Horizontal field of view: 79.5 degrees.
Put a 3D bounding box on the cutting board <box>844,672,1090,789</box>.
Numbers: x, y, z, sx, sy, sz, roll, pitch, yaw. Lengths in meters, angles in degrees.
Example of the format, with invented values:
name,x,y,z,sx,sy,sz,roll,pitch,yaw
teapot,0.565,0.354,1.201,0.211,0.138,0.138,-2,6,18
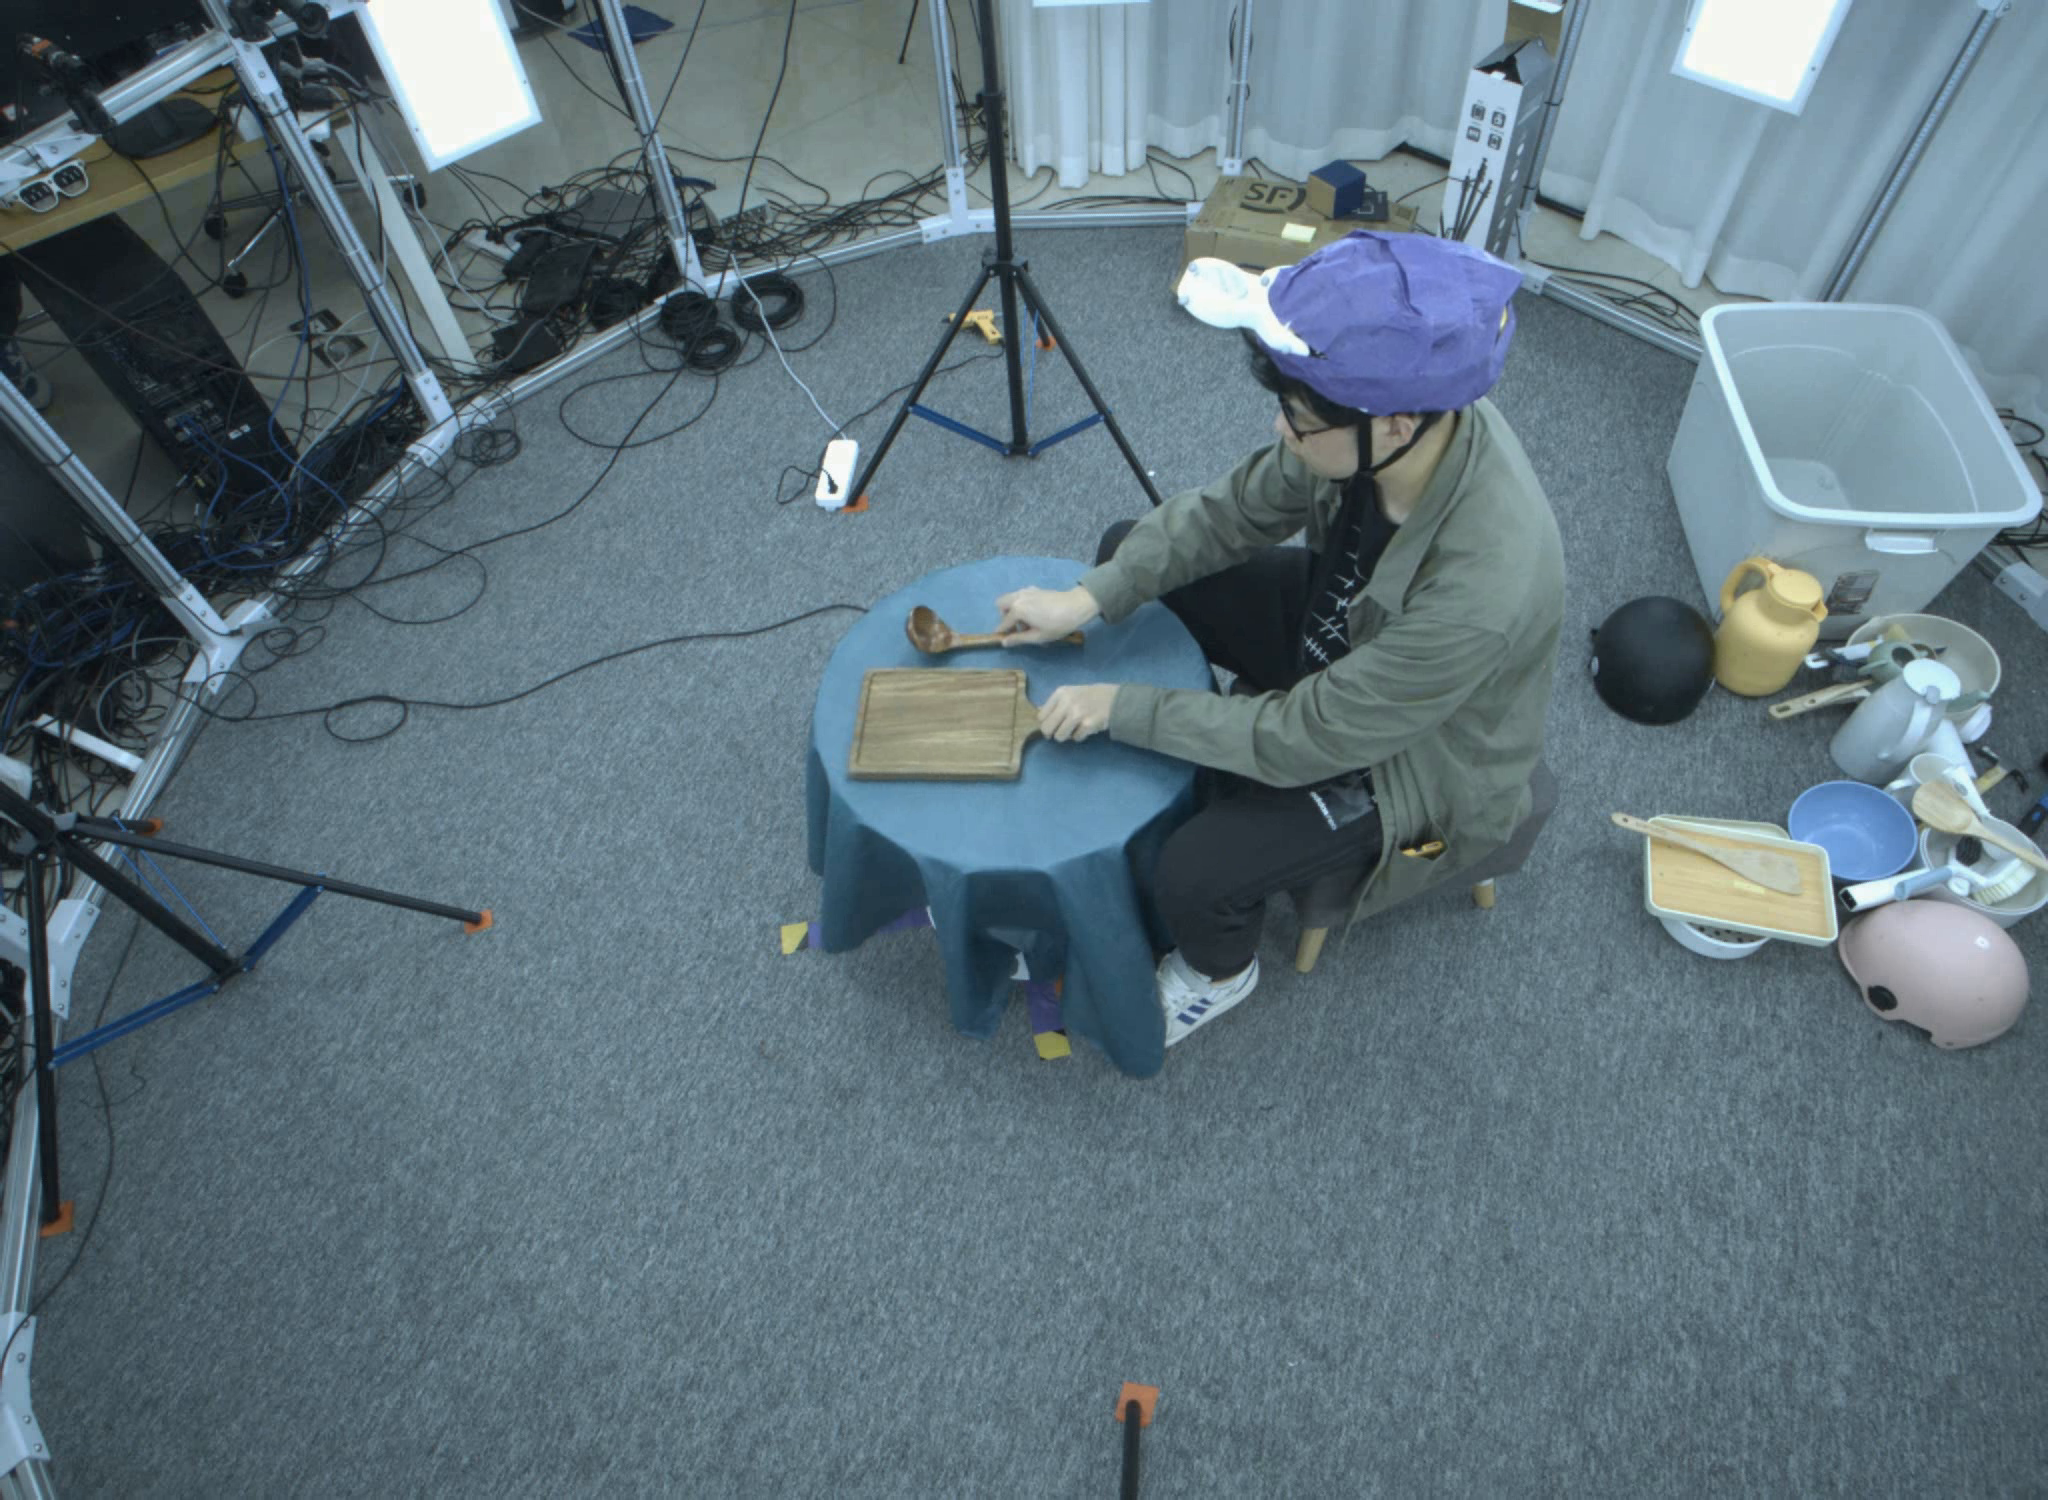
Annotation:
name,x,y,z,sx,sy,sz,roll,pitch,yaw
cutting board,-0.079,-0.030,1.802,0.351,0.023,0.199,2,55,3

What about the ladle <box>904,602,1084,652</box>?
name,x,y,z,sx,sy,sz,roll,pitch,yaw
ladle,-0.046,-0.189,1.881,0.274,0.077,0.081,-1,62,0
